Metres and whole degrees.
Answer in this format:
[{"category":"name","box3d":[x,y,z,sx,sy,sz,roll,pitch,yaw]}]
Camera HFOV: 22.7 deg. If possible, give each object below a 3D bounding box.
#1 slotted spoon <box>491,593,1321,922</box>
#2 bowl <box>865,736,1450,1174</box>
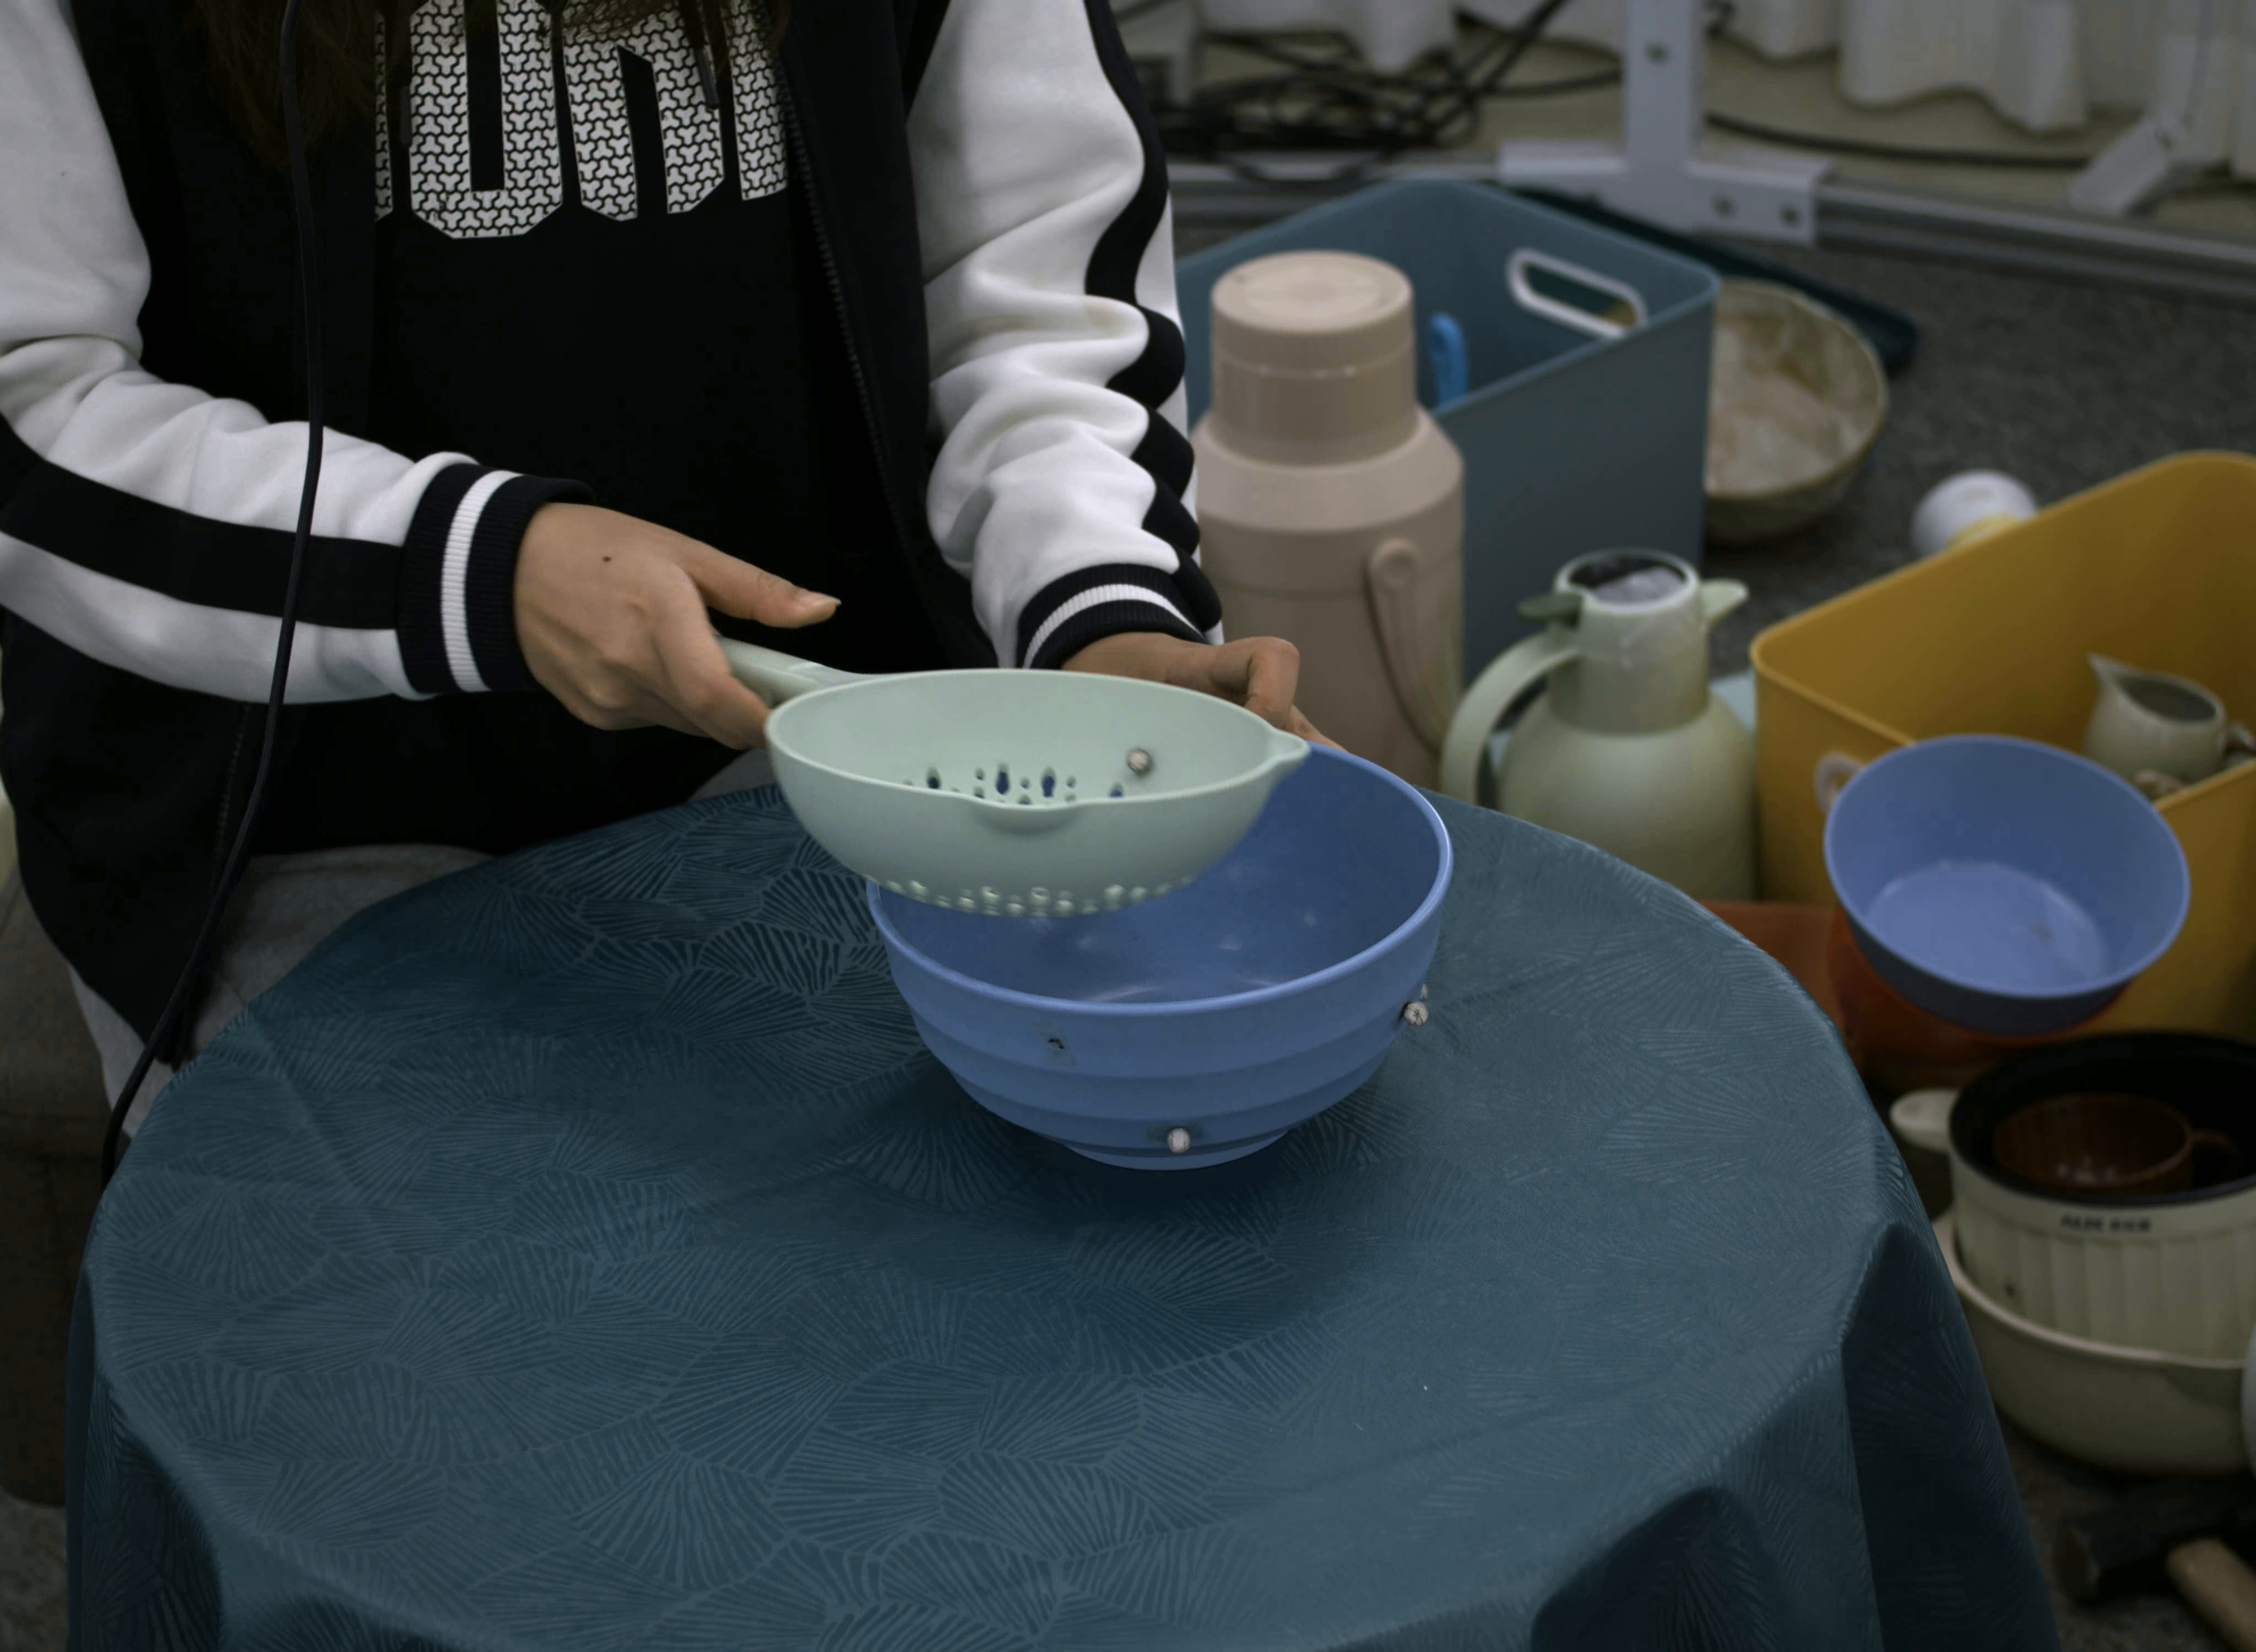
[{"category":"slotted spoon","box3d":[-0.099,-0.038,1.911,0.170,0.075,0.359,-10,27,-44]},{"category":"bowl","box3d":[0.013,0.053,1.891,0.195,0.094,0.199,-3,27,2]}]
